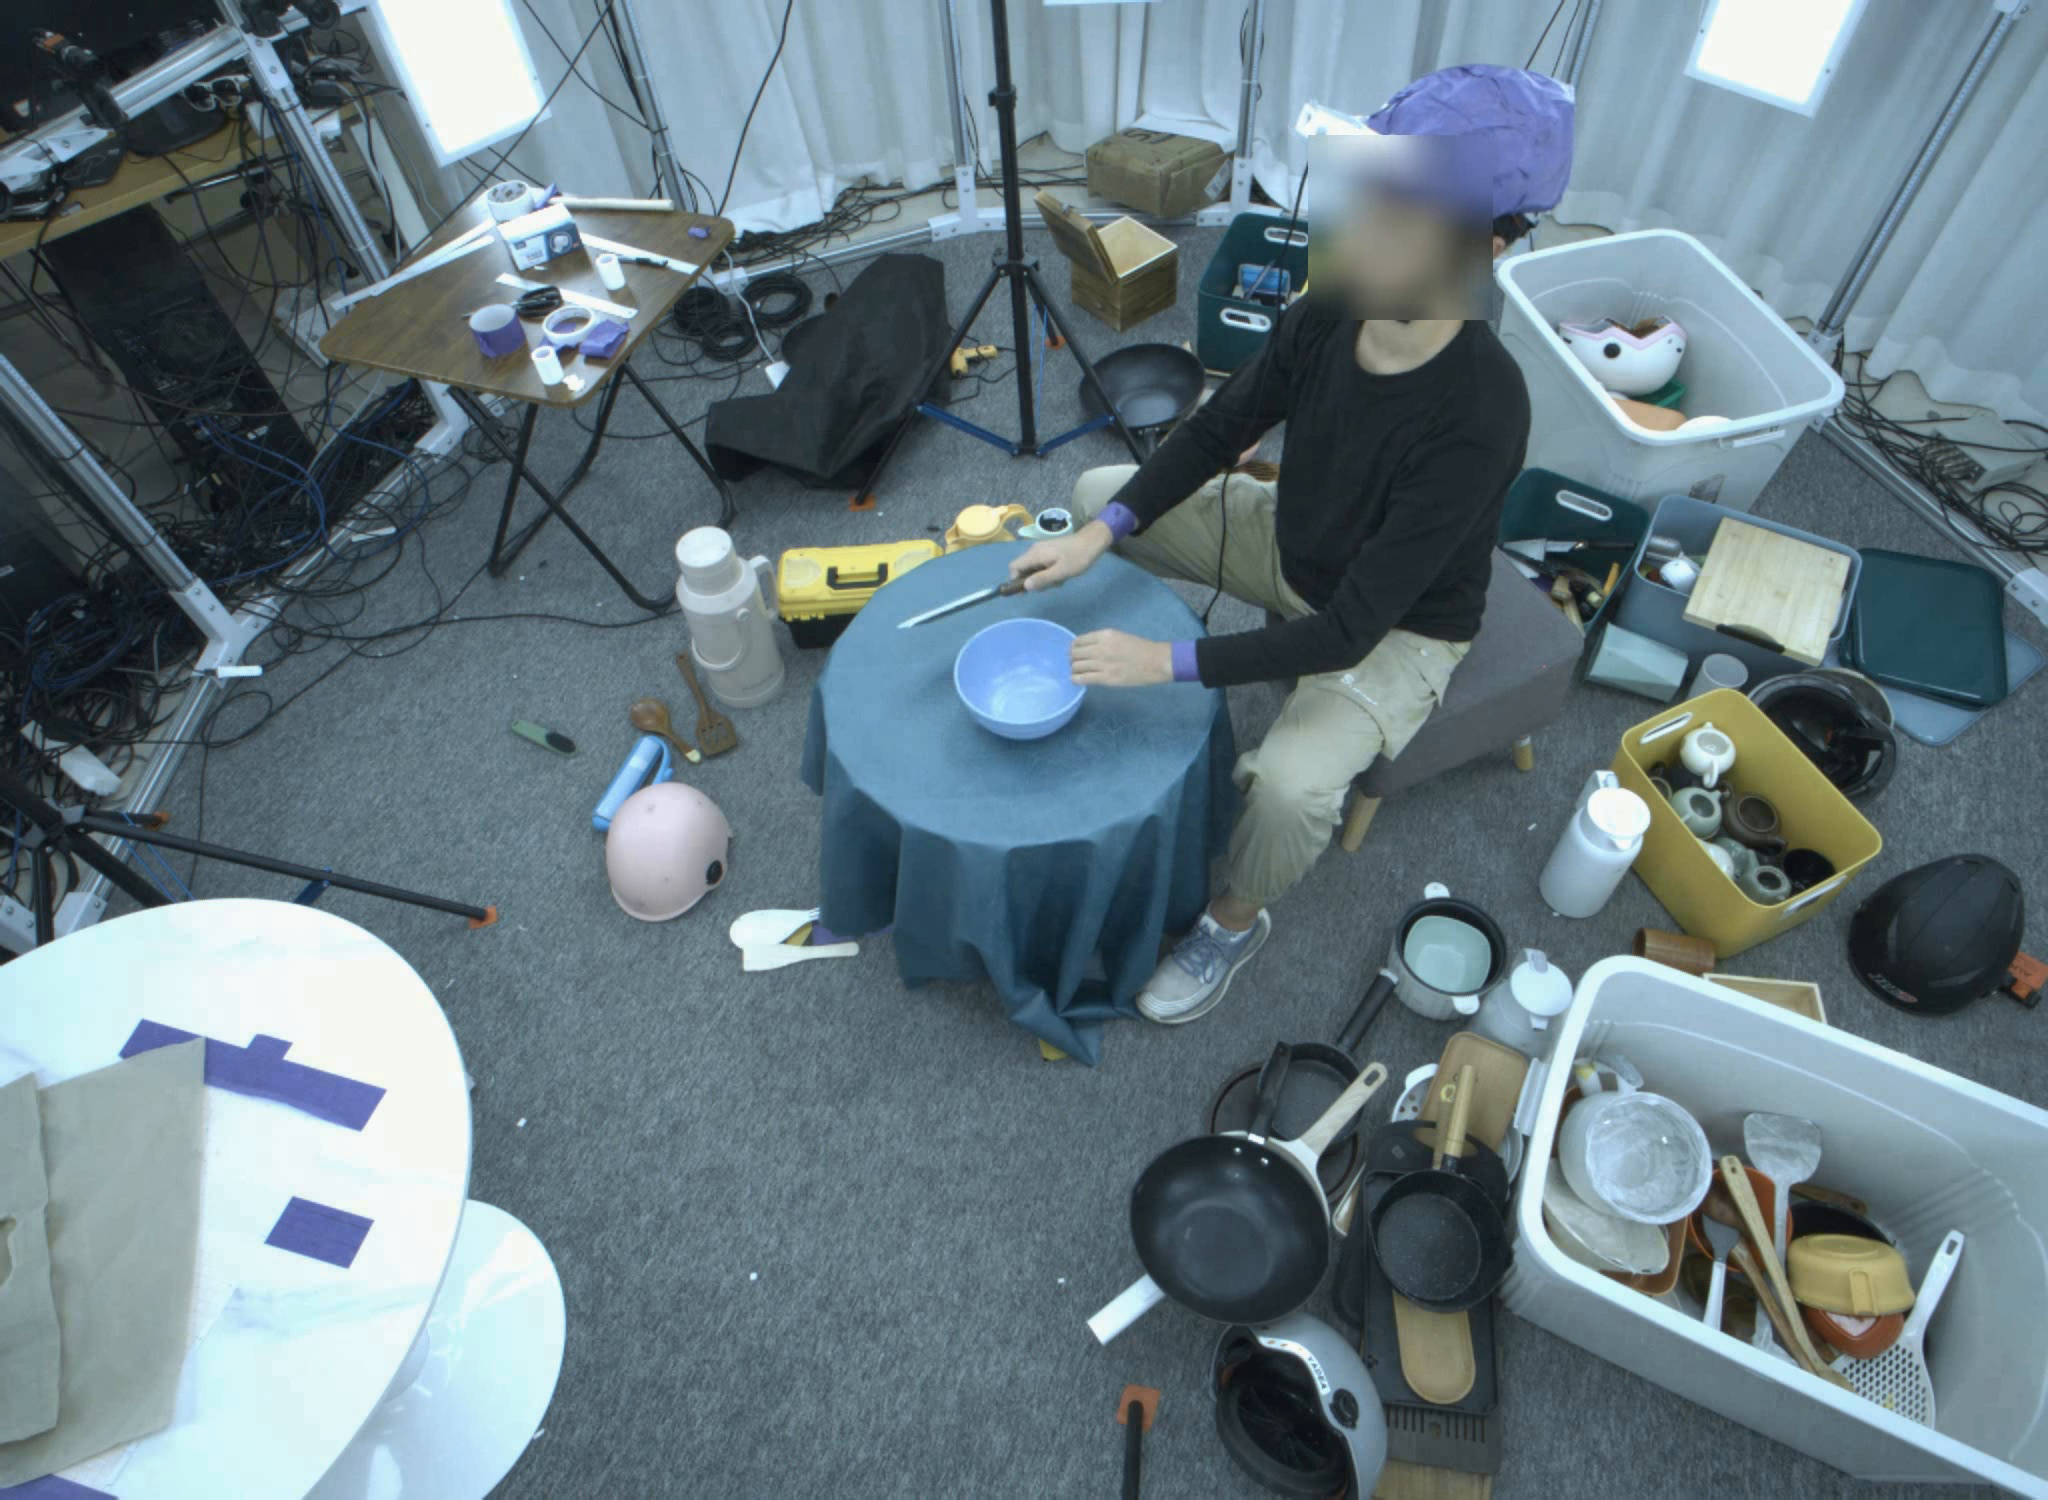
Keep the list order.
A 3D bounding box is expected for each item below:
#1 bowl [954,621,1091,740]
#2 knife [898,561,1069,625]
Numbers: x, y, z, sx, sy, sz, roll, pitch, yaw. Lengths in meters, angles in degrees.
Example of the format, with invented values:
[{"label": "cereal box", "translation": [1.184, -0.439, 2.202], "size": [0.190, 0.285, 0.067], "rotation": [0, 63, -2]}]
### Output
[{"label": "bowl", "translation": [-0.001, -0.087, 1.791], "size": [0.196, 0.096, 0.194], "rotation": [1, 53, 0]}, {"label": "knife", "translation": [-0.059, -0.233, 1.838], "size": [0.292, 0.020, 0.049], "rotation": [-22, 25, -23]}]
